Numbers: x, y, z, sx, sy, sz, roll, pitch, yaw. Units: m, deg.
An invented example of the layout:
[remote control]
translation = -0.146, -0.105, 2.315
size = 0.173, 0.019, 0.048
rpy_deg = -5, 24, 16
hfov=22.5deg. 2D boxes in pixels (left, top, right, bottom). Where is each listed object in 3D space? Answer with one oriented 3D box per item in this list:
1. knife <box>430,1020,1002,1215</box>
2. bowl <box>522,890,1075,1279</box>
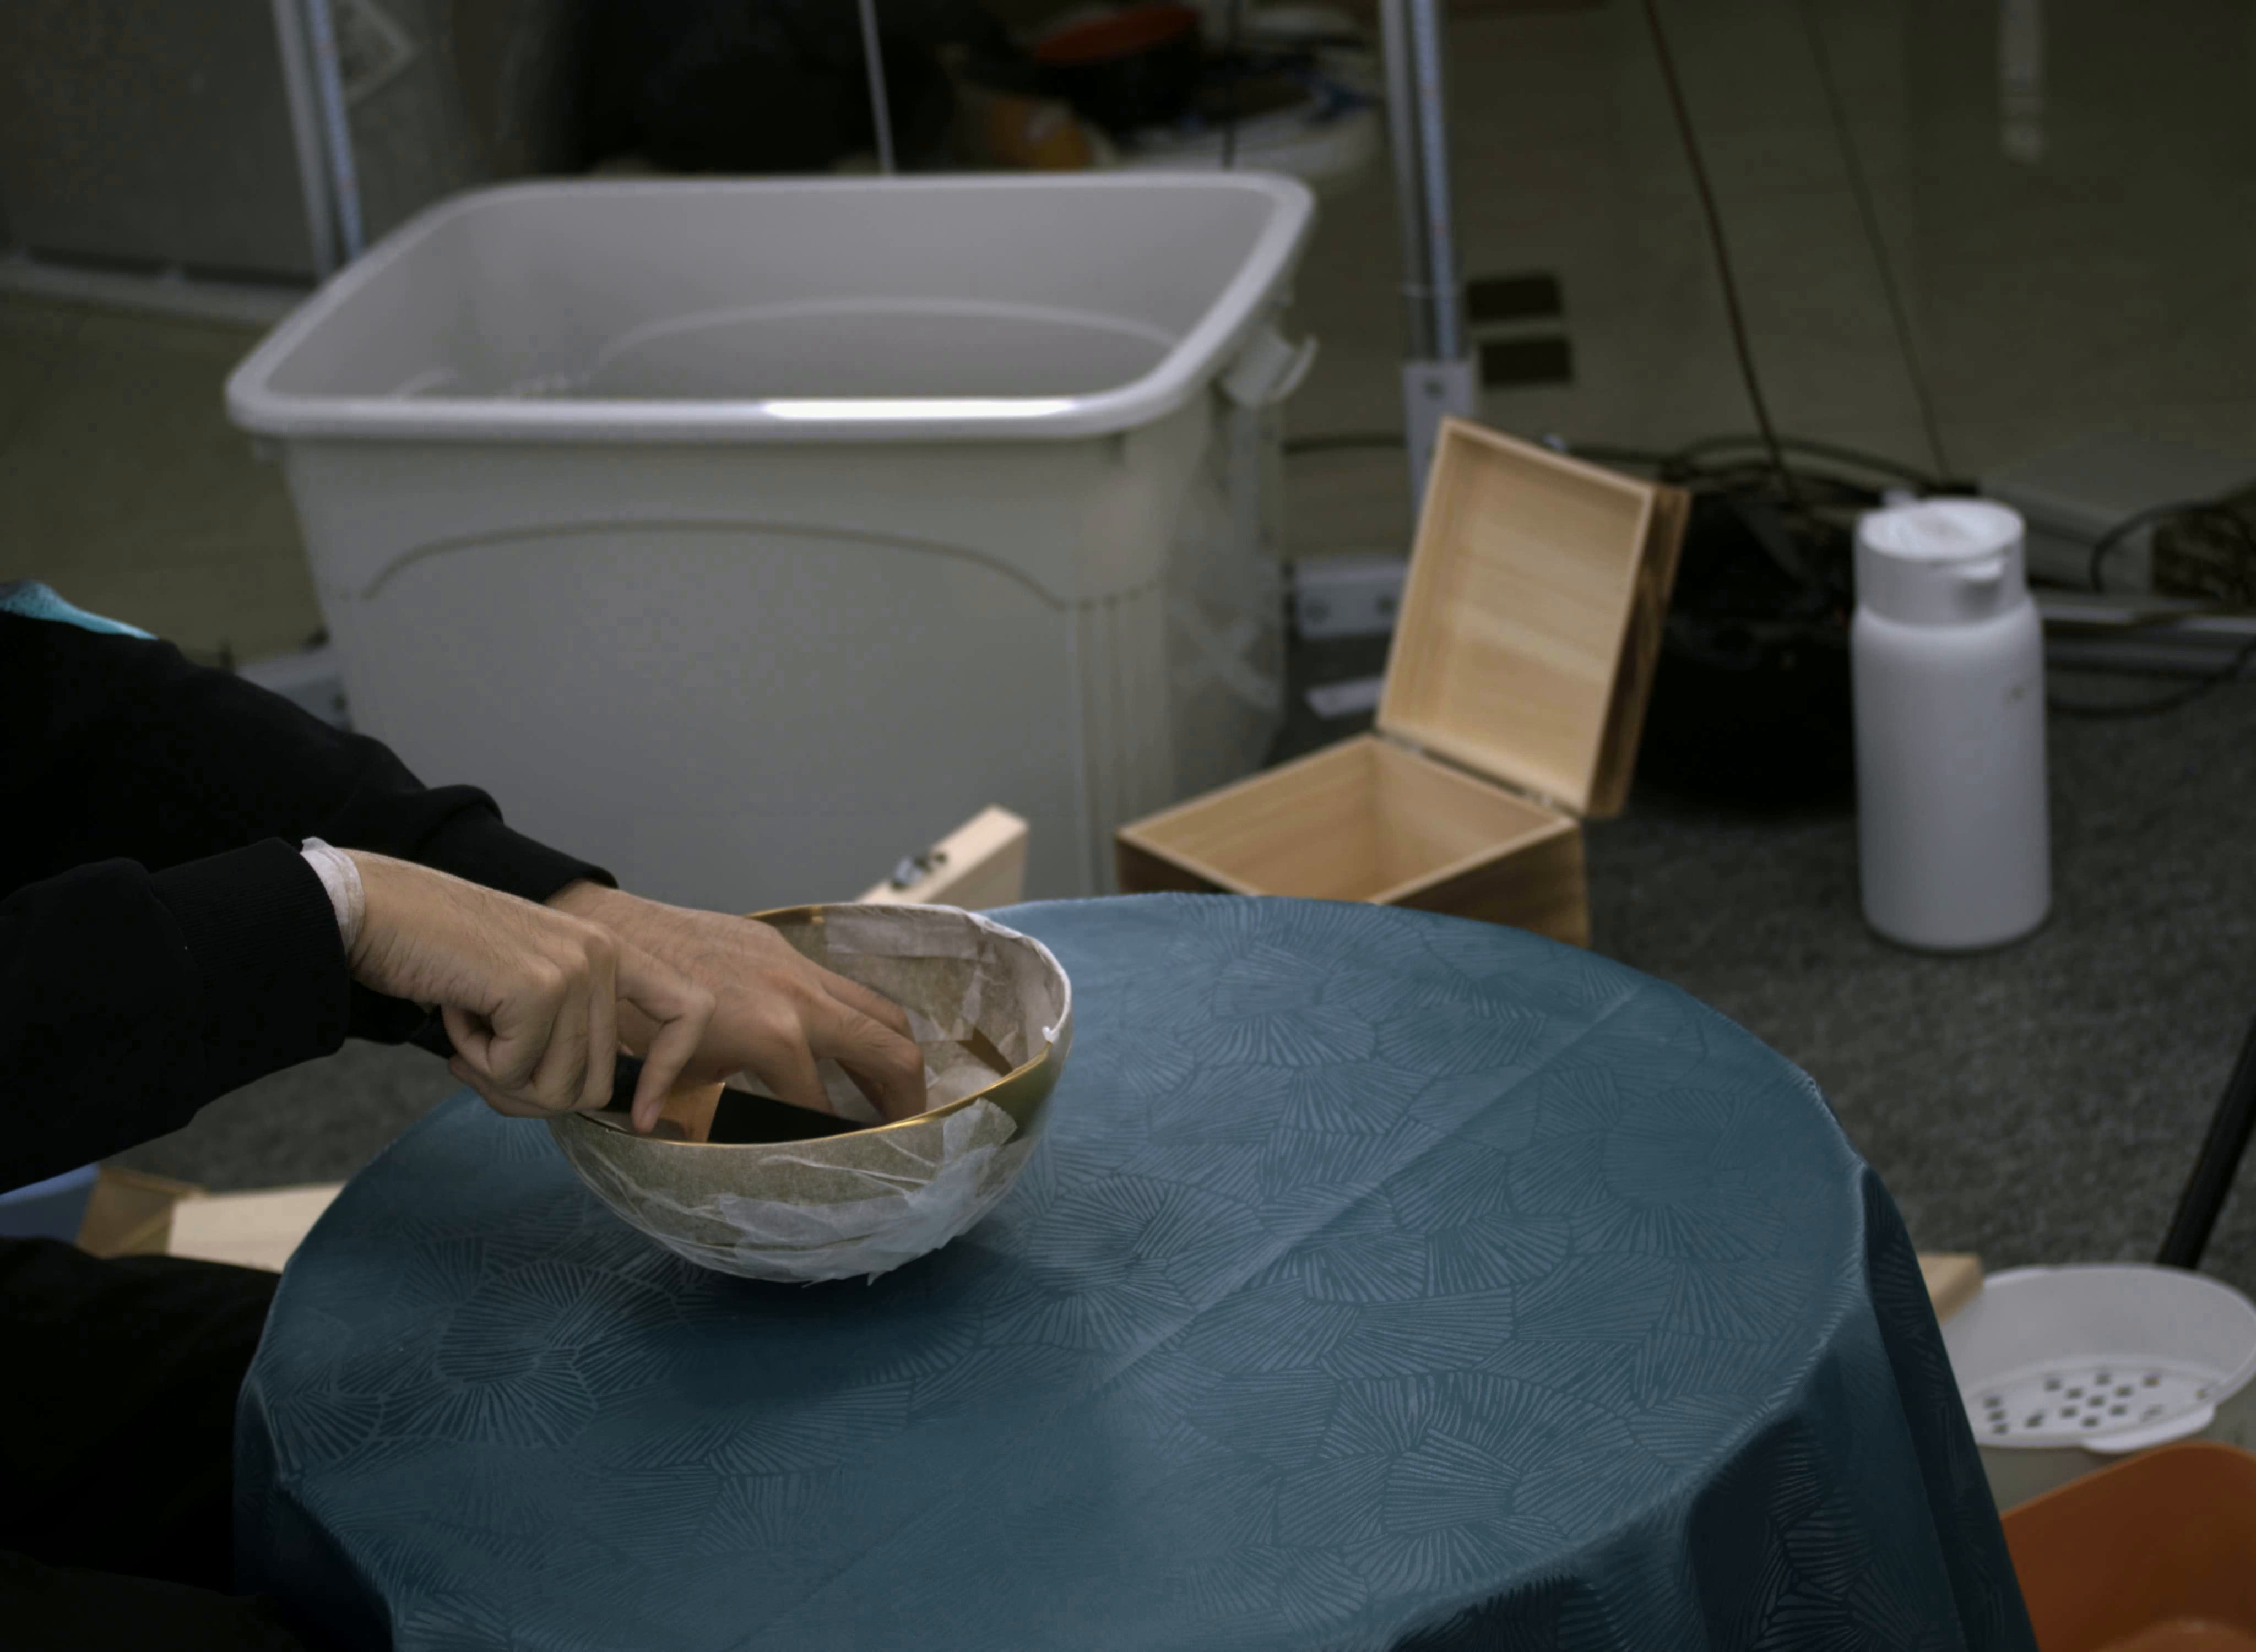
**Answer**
[knife]
translation = -0.148, 0.106, 2.061
size = 0.226, 0.026, 0.017
rpy_deg = 16, 17, -17
[bowl]
translation = -0.121, 0.110, 2.123
size = 0.214, 0.096, 0.211
rpy_deg = -4, 26, 2
